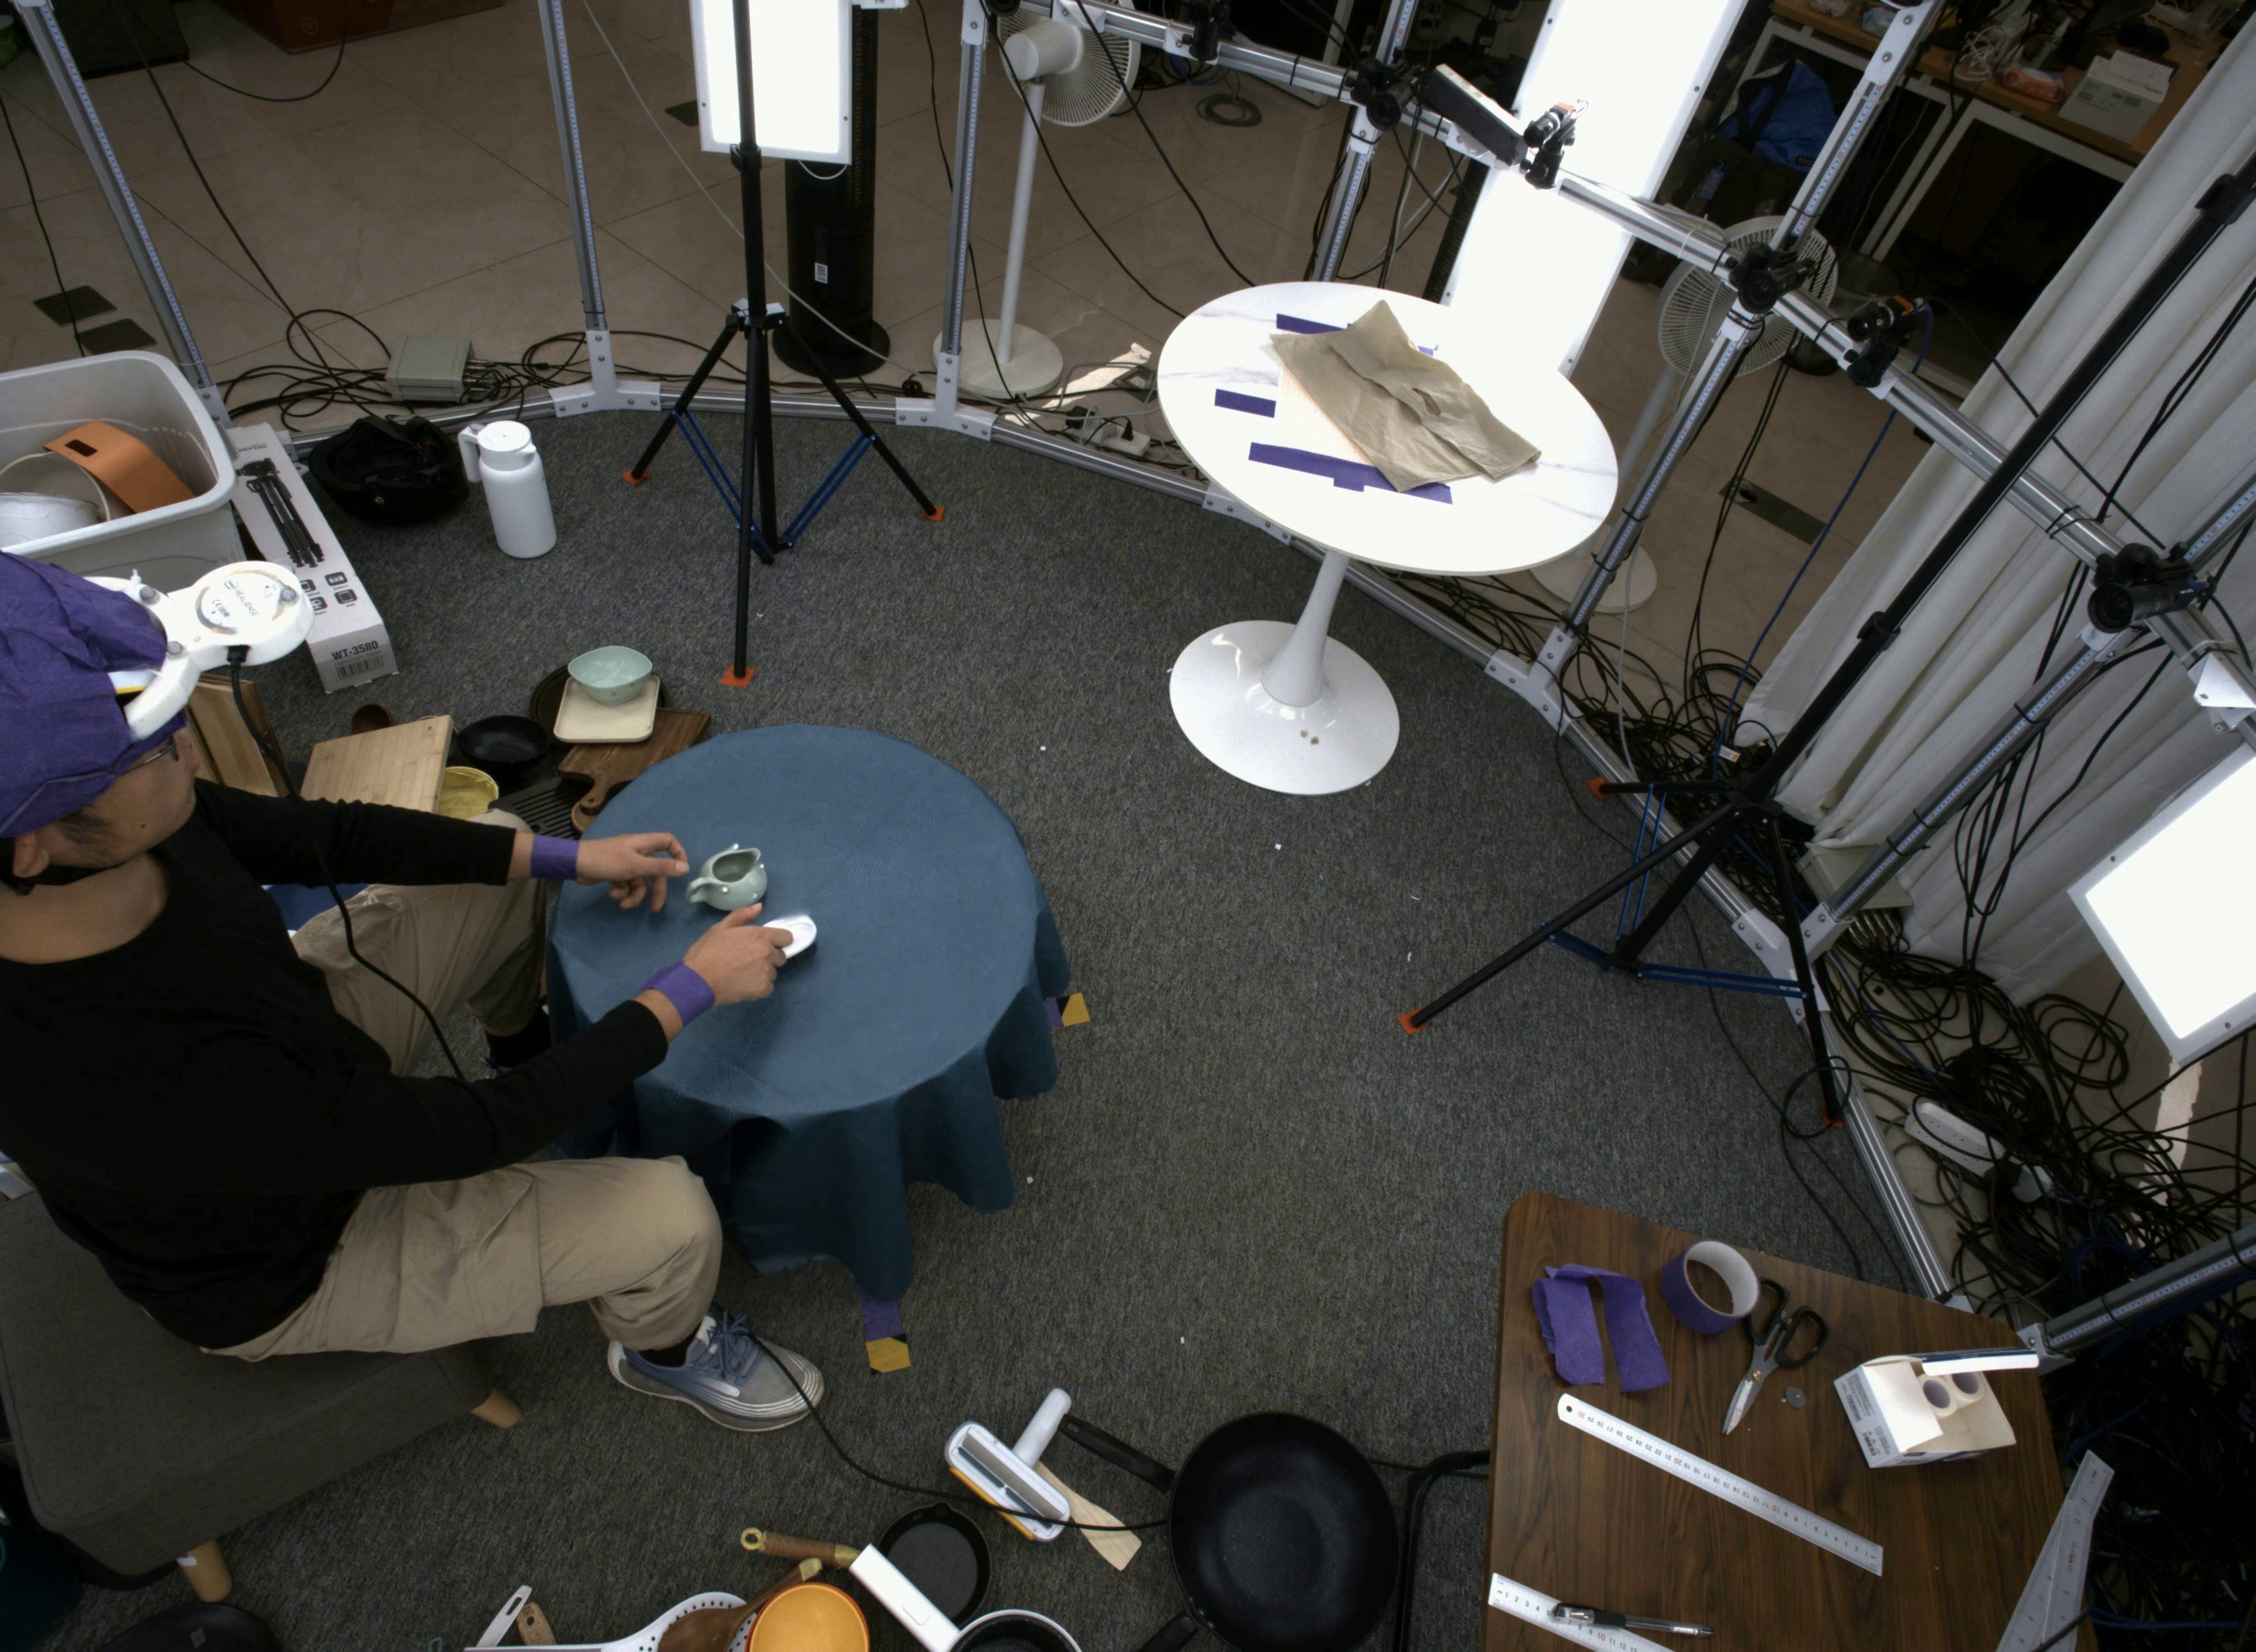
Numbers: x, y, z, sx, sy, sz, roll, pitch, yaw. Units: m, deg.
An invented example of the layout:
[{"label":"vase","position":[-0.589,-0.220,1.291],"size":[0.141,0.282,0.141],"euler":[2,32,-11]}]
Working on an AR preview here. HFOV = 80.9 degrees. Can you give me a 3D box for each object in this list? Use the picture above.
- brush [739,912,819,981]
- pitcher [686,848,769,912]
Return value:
[{"label":"brush","position":[-0.426,0.138,1.577],"size":[0.100,0.074,0.049],"euler":[-25,60,-29]},{"label":"pitcher","position":[-0.505,0.070,1.620],"size":[0.084,0.062,0.108],"euler":[42,58,19]}]
